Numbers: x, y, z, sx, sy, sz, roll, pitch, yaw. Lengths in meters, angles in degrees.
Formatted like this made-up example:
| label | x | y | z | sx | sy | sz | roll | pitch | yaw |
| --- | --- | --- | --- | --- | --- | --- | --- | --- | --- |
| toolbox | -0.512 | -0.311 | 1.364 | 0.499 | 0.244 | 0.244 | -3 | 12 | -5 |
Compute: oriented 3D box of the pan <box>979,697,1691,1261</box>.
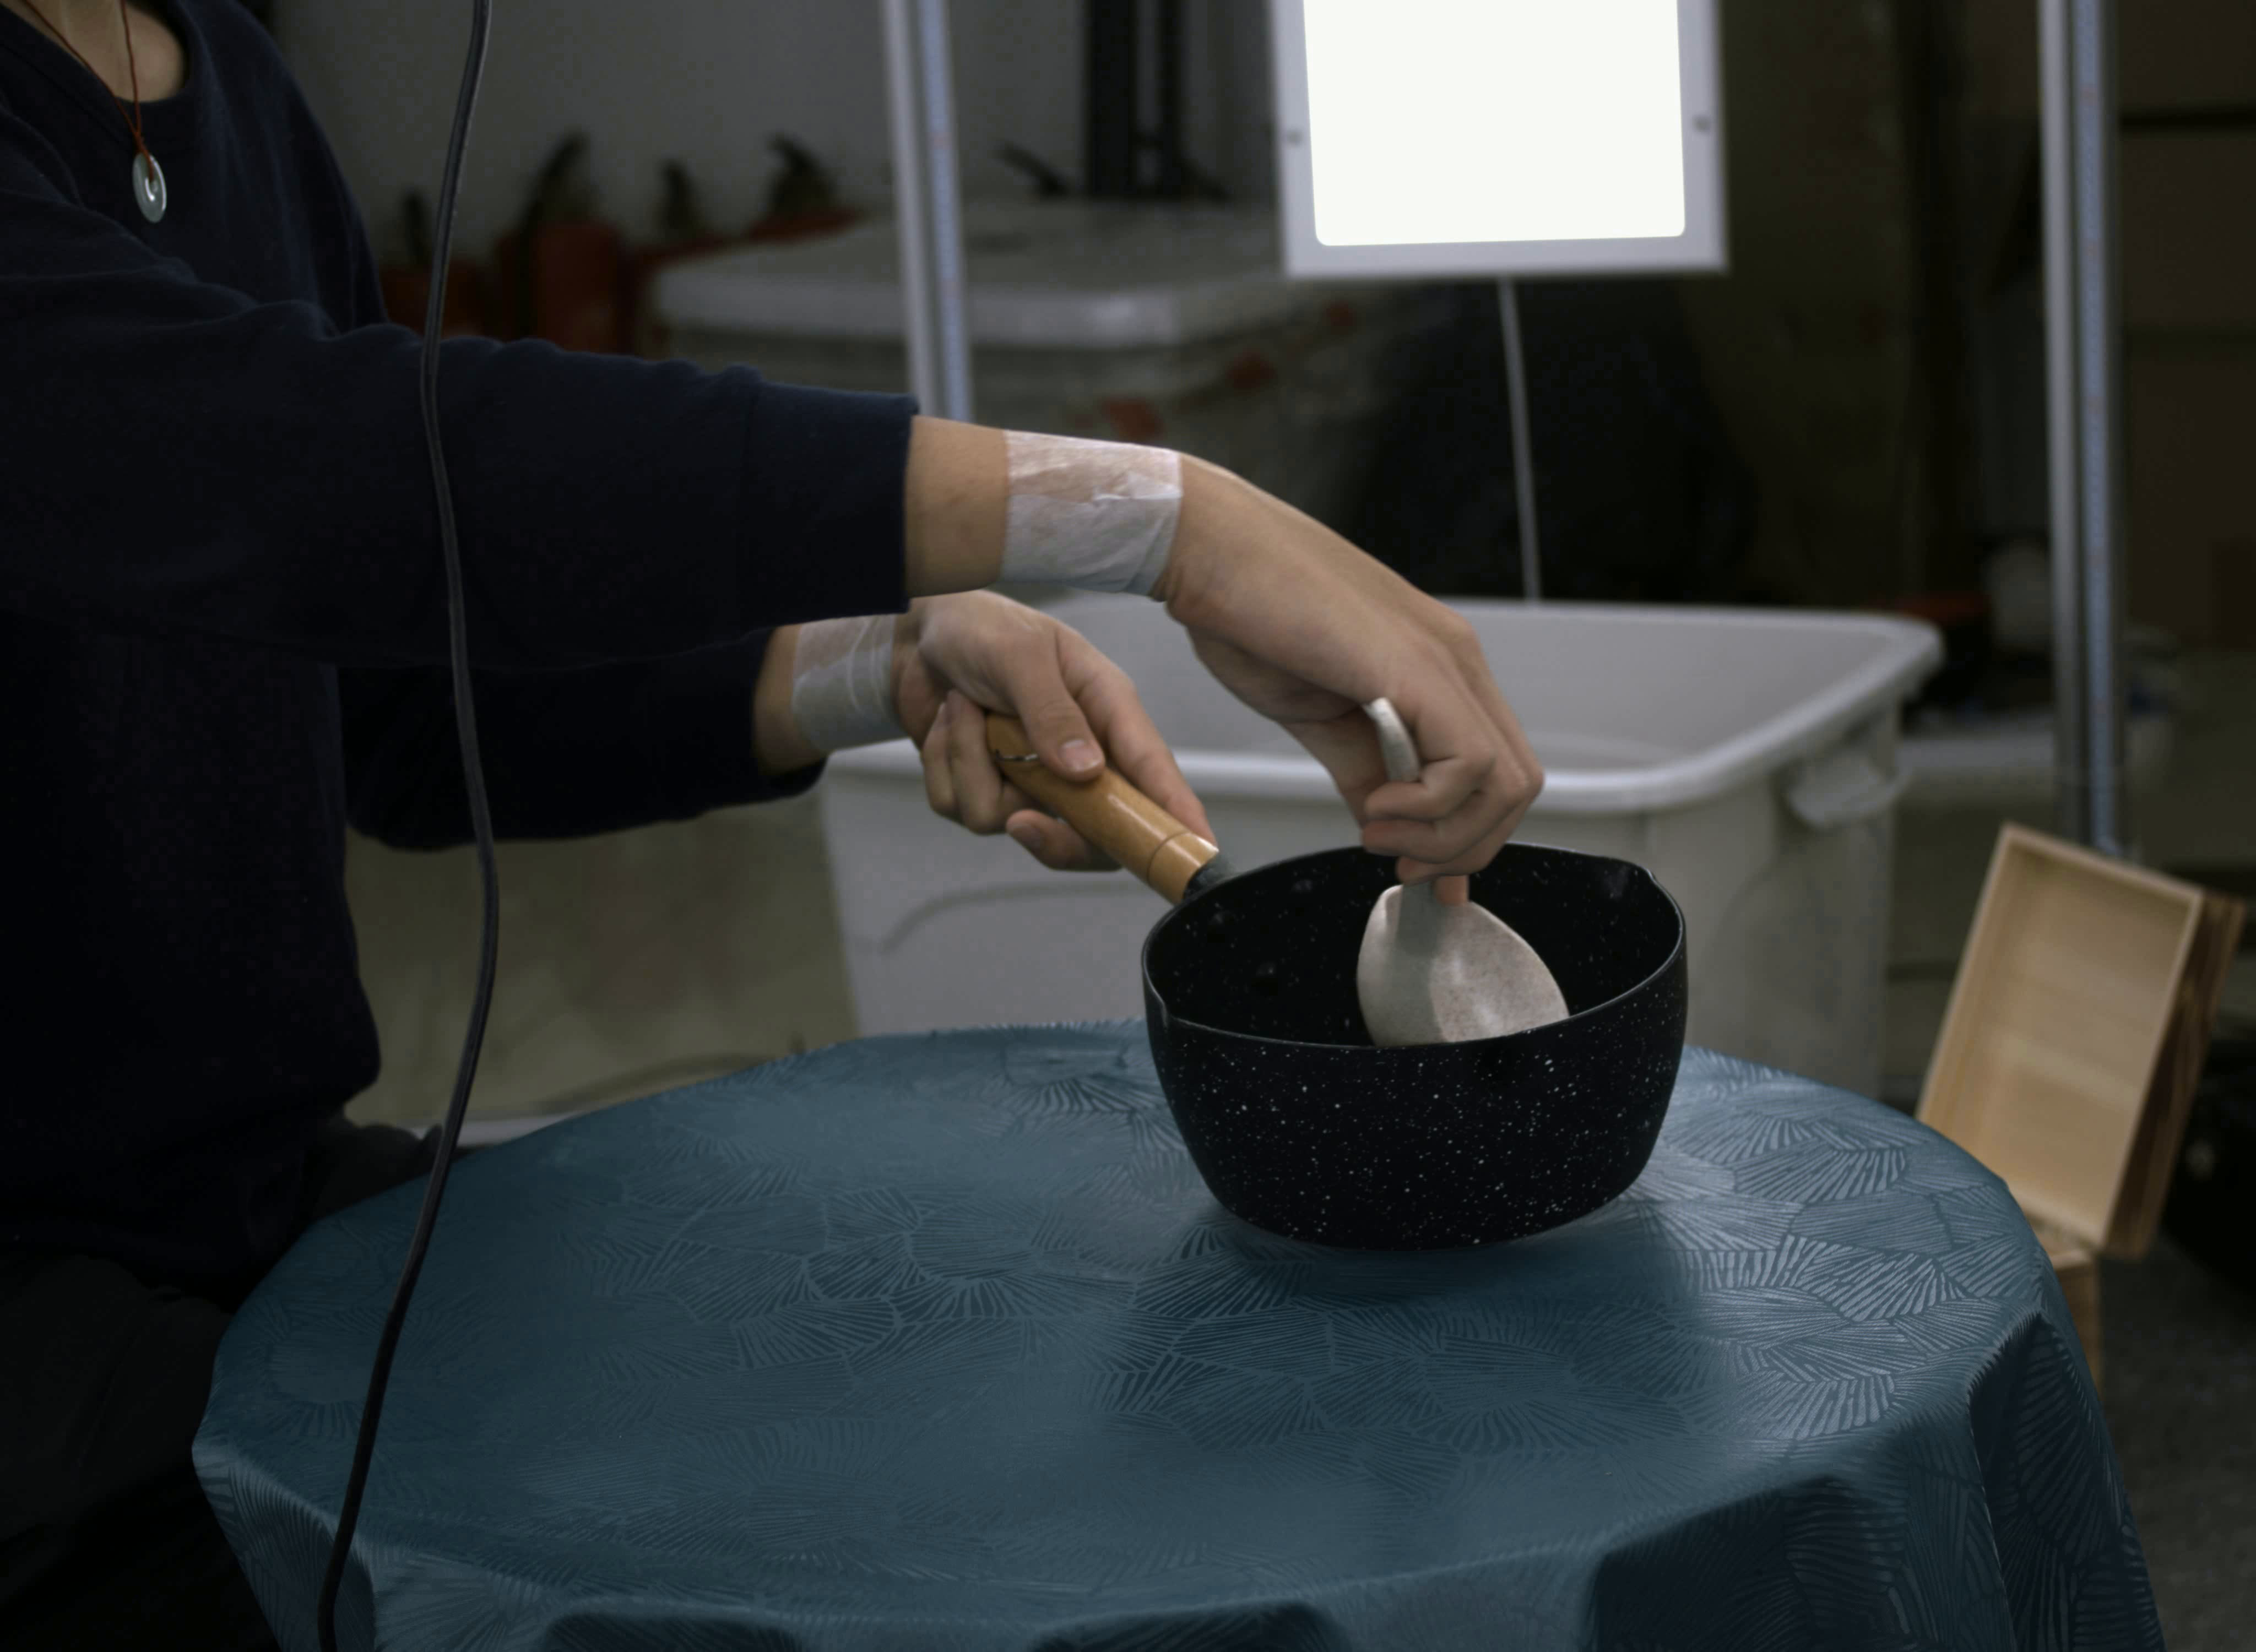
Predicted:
| label | x | y | z | sx | sy | sz | roll | pitch | yaw |
| --- | --- | --- | --- | --- | --- | --- | --- | --- | --- |
| pan | 0.052 | 0.046 | 1.917 | 0.203 | 0.108 | 0.349 | -20 | 26 | -31 |

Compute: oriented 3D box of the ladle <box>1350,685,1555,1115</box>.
| label | x | y | z | sx | sy | sz | roll | pitch | yaw |
| --- | --- | --- | --- | --- | --- | --- | --- | --- | --- |
| ladle | 0.104 | 0.010 | 1.700 | 0.069 | 0.090 | 0.275 | -20 | -24 | -7 |
